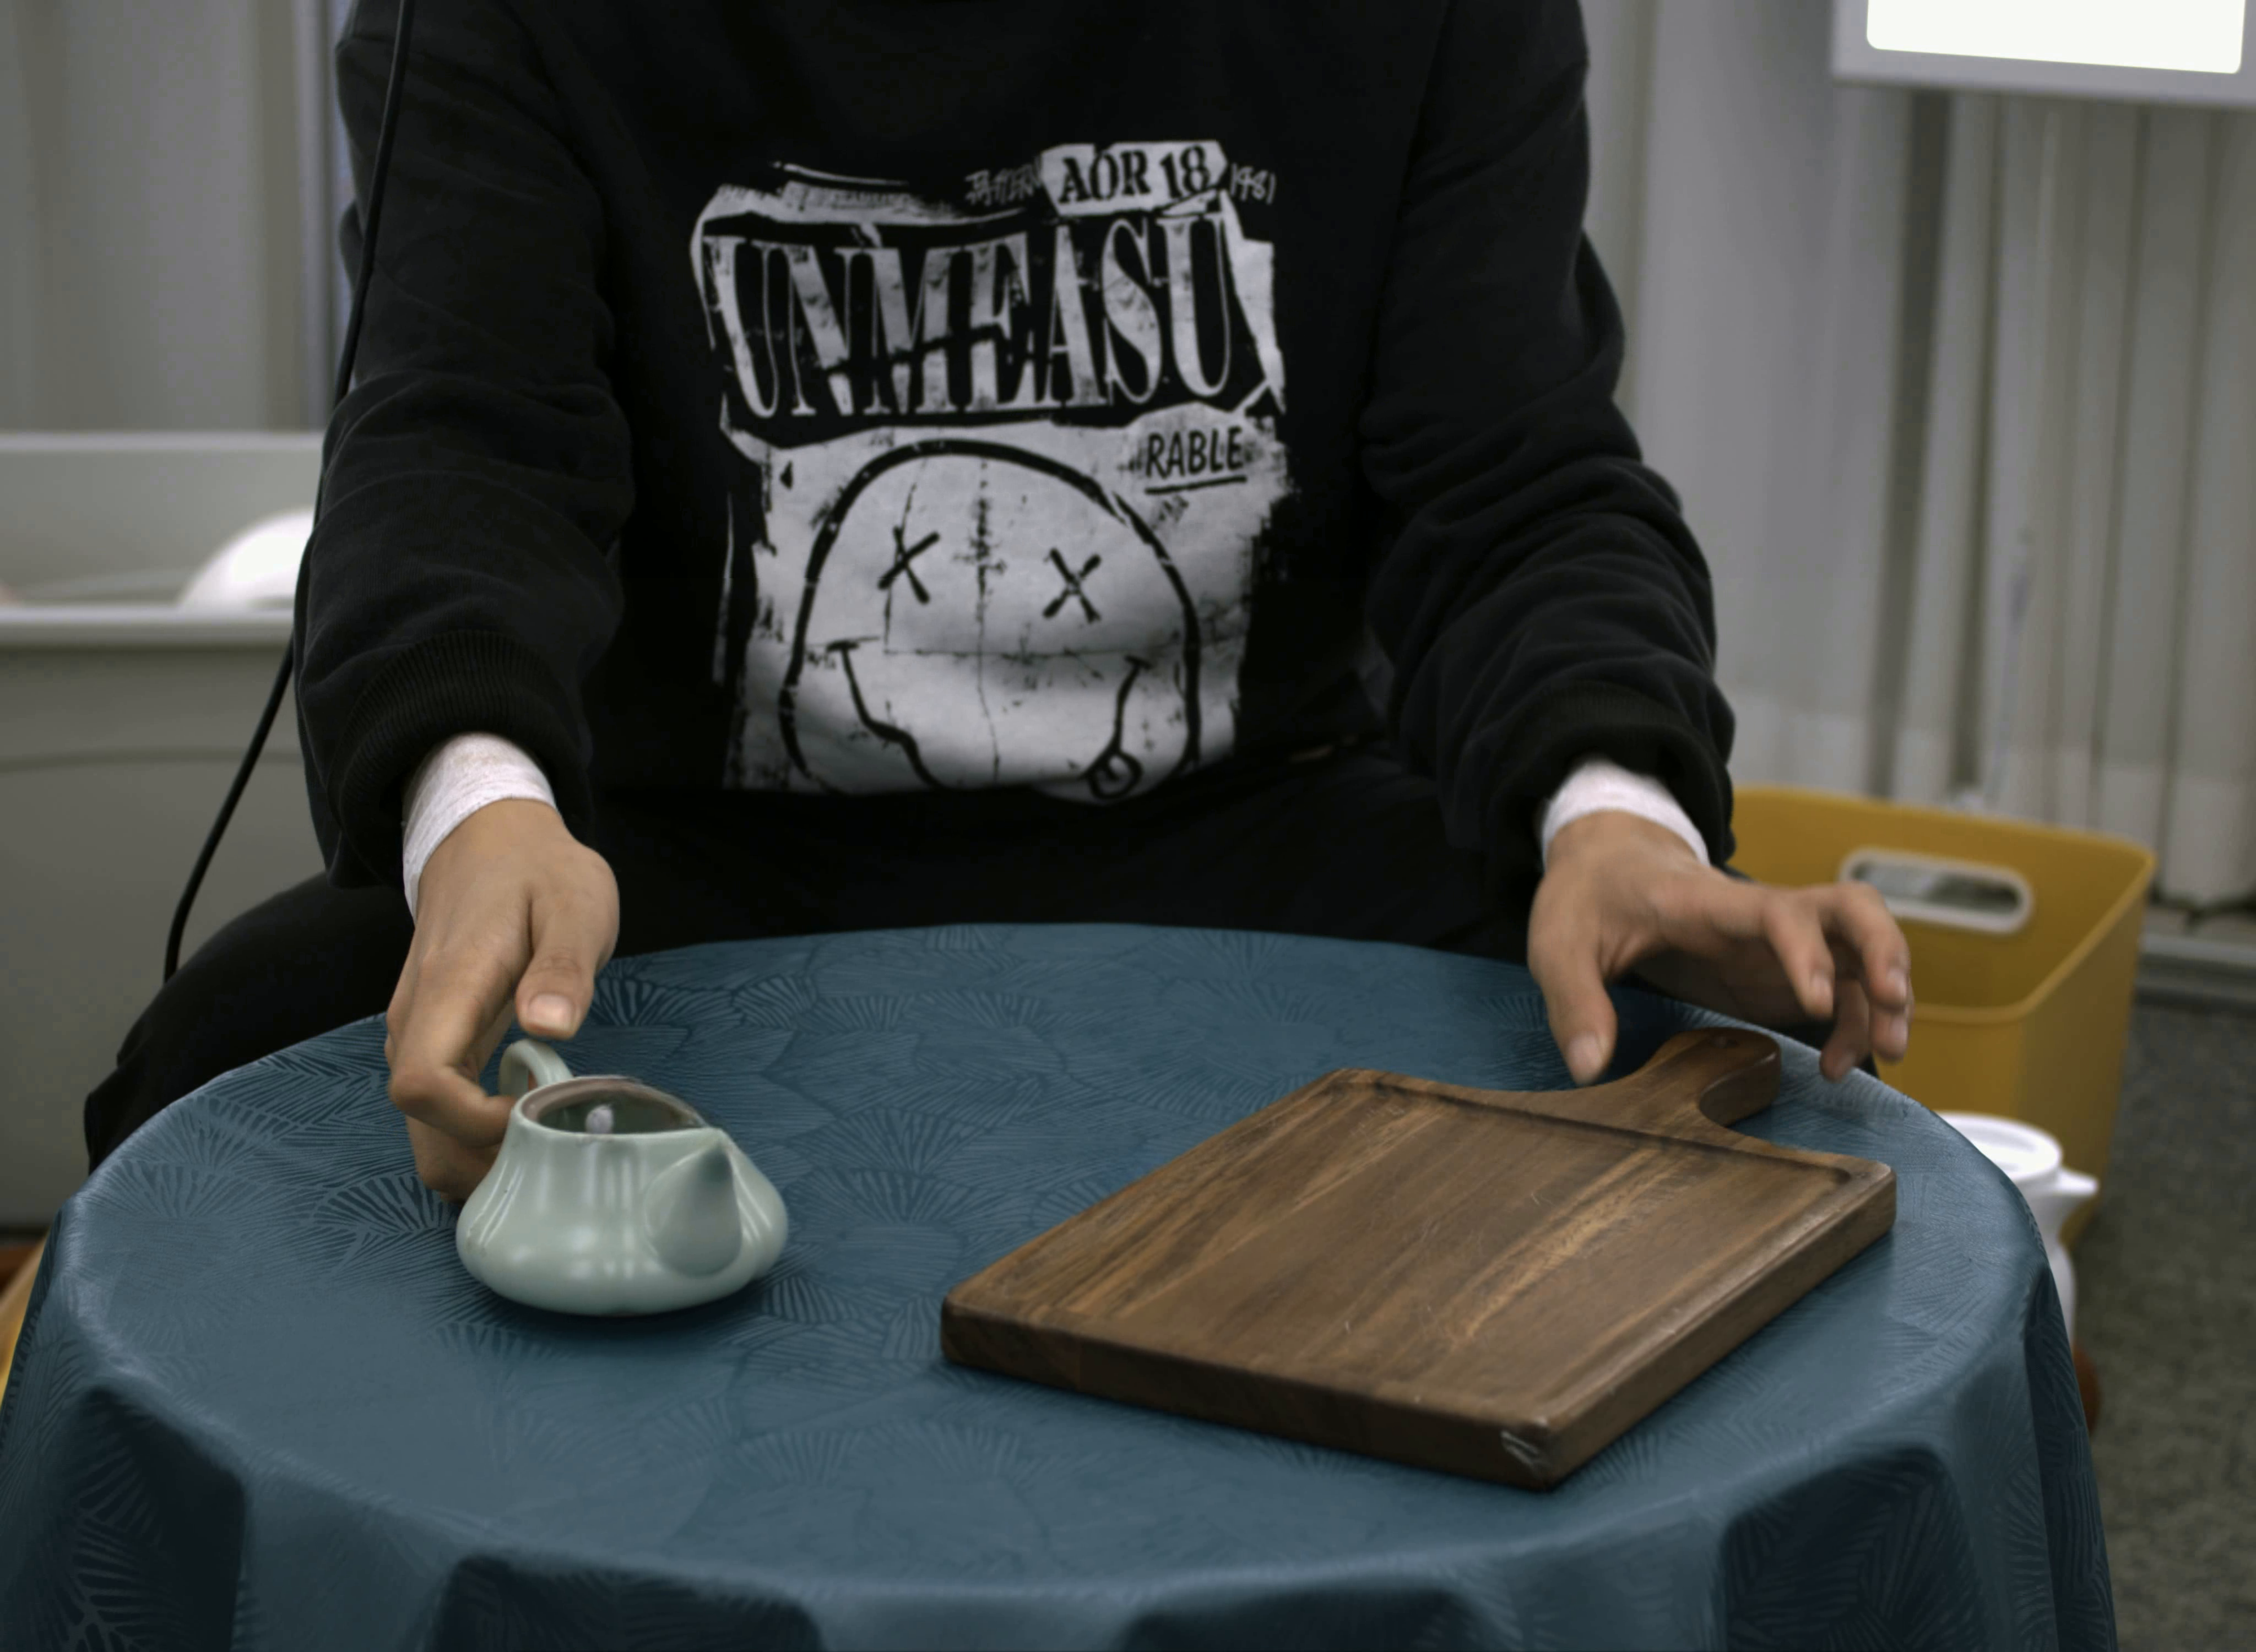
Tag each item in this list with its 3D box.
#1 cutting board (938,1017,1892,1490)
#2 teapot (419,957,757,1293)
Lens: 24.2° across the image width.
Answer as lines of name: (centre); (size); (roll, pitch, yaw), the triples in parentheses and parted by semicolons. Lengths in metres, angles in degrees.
cutting board: (0.113, 0.114, 1.579); (0.199, 0.023, 0.353); (9, 18, 27)
teapot: (-0.156, 0.091, 1.524); (0.097, 0.061, 0.135); (20, 16, -42)
